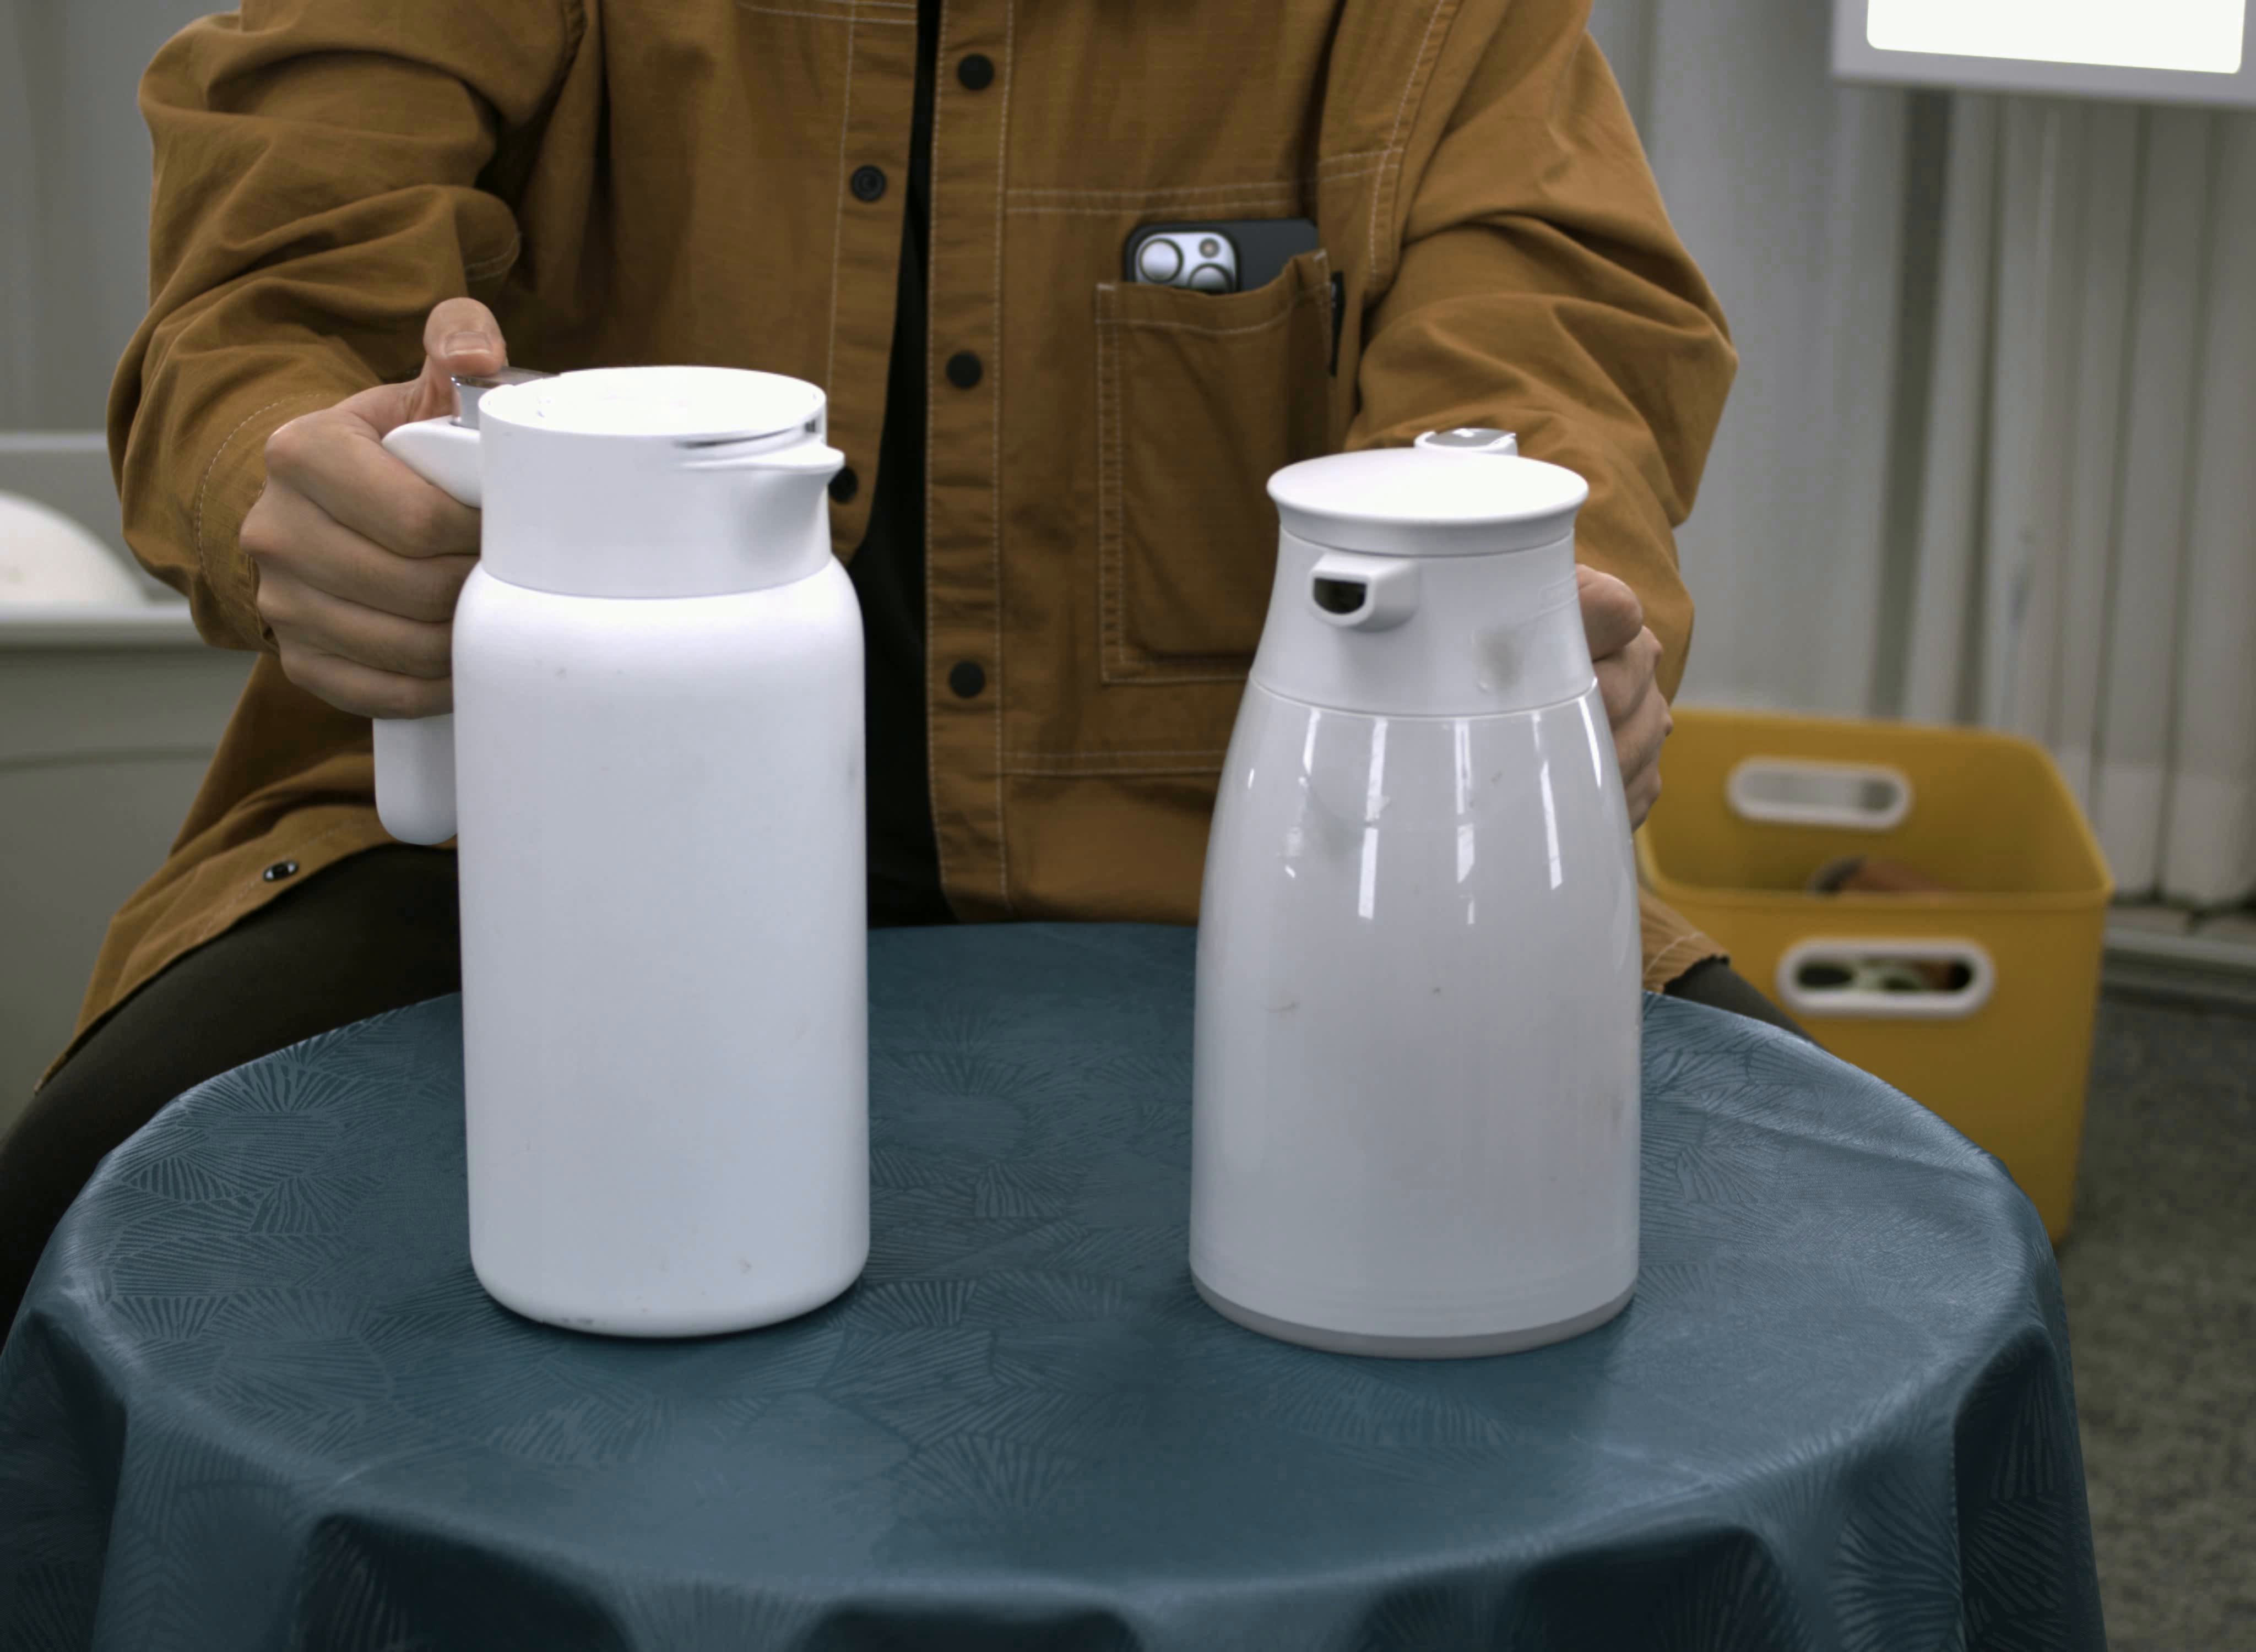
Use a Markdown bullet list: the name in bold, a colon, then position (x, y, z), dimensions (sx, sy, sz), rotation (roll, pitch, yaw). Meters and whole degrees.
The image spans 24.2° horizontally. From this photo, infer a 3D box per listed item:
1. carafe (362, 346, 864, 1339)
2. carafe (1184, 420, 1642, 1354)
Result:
- **carafe**: position (-0.149, 0.002, 1.513), dimensions (0.170, 0.271, 0.124), rotation (12, 22, 35)
- **carafe**: position (0.091, 0.009, 1.532), dimensions (0.131, 0.250, 0.168), rotation (7, 16, 23)
